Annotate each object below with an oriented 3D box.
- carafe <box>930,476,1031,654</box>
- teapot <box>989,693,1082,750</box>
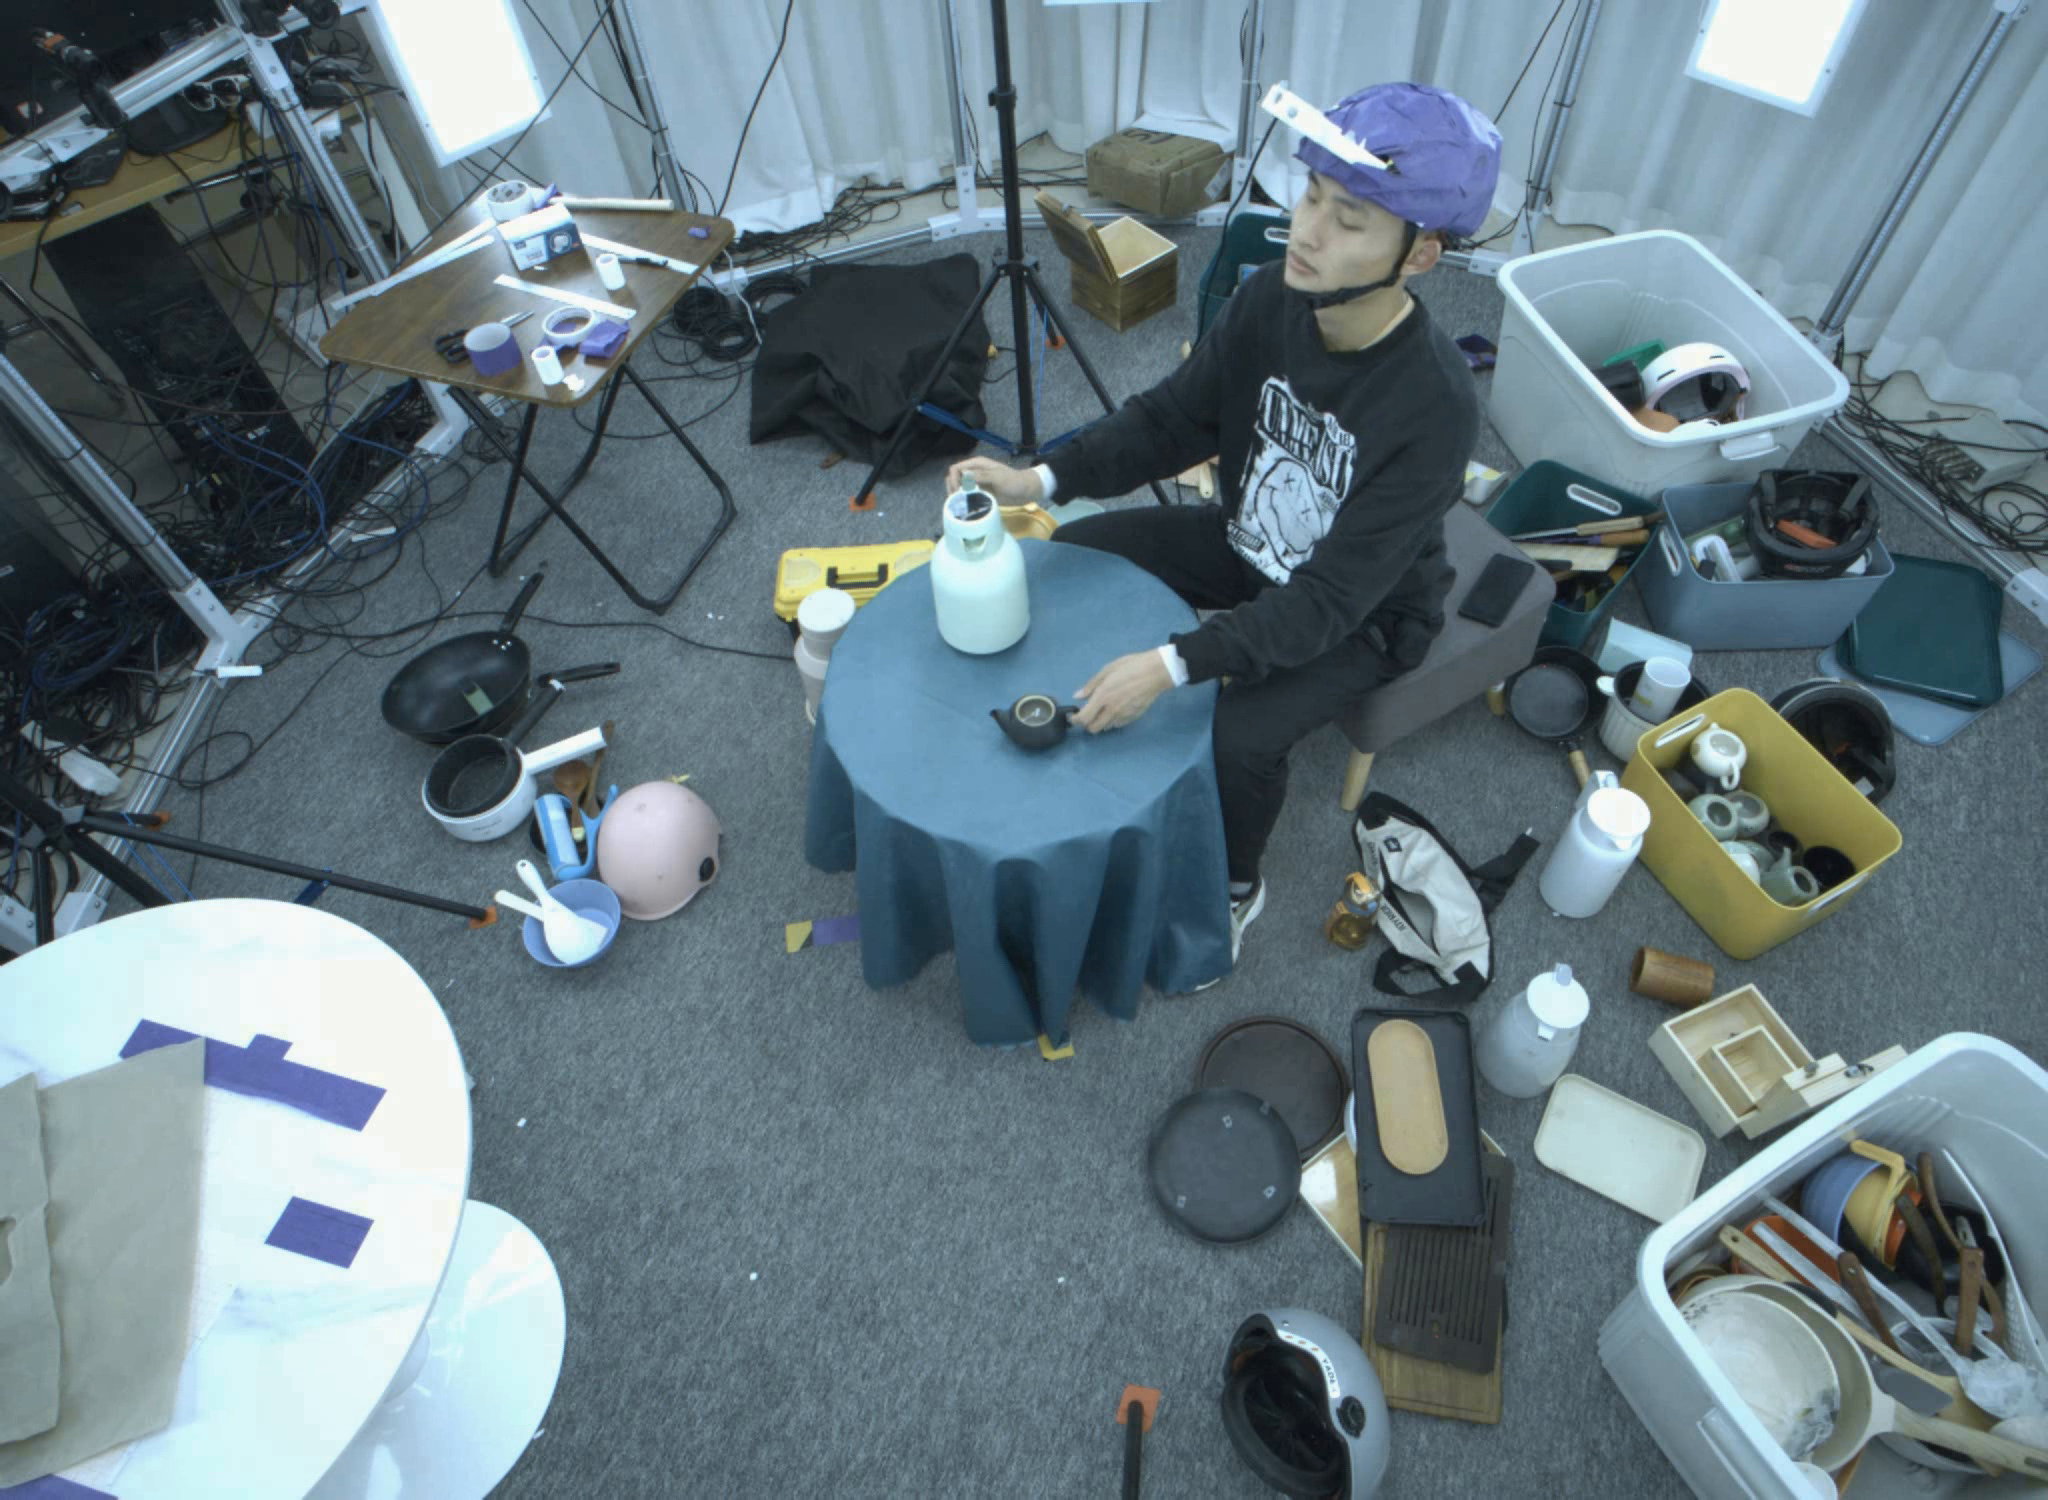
[{"bbox_3d":[-0.072,-0.283,1.833,0.144,0.260,0.184,-8,51,-1],"label":"carafe"},{"bbox_3d":[0.017,-0.043,1.780,0.133,0.053,0.090,-4,56,0],"label":"teapot"}]
